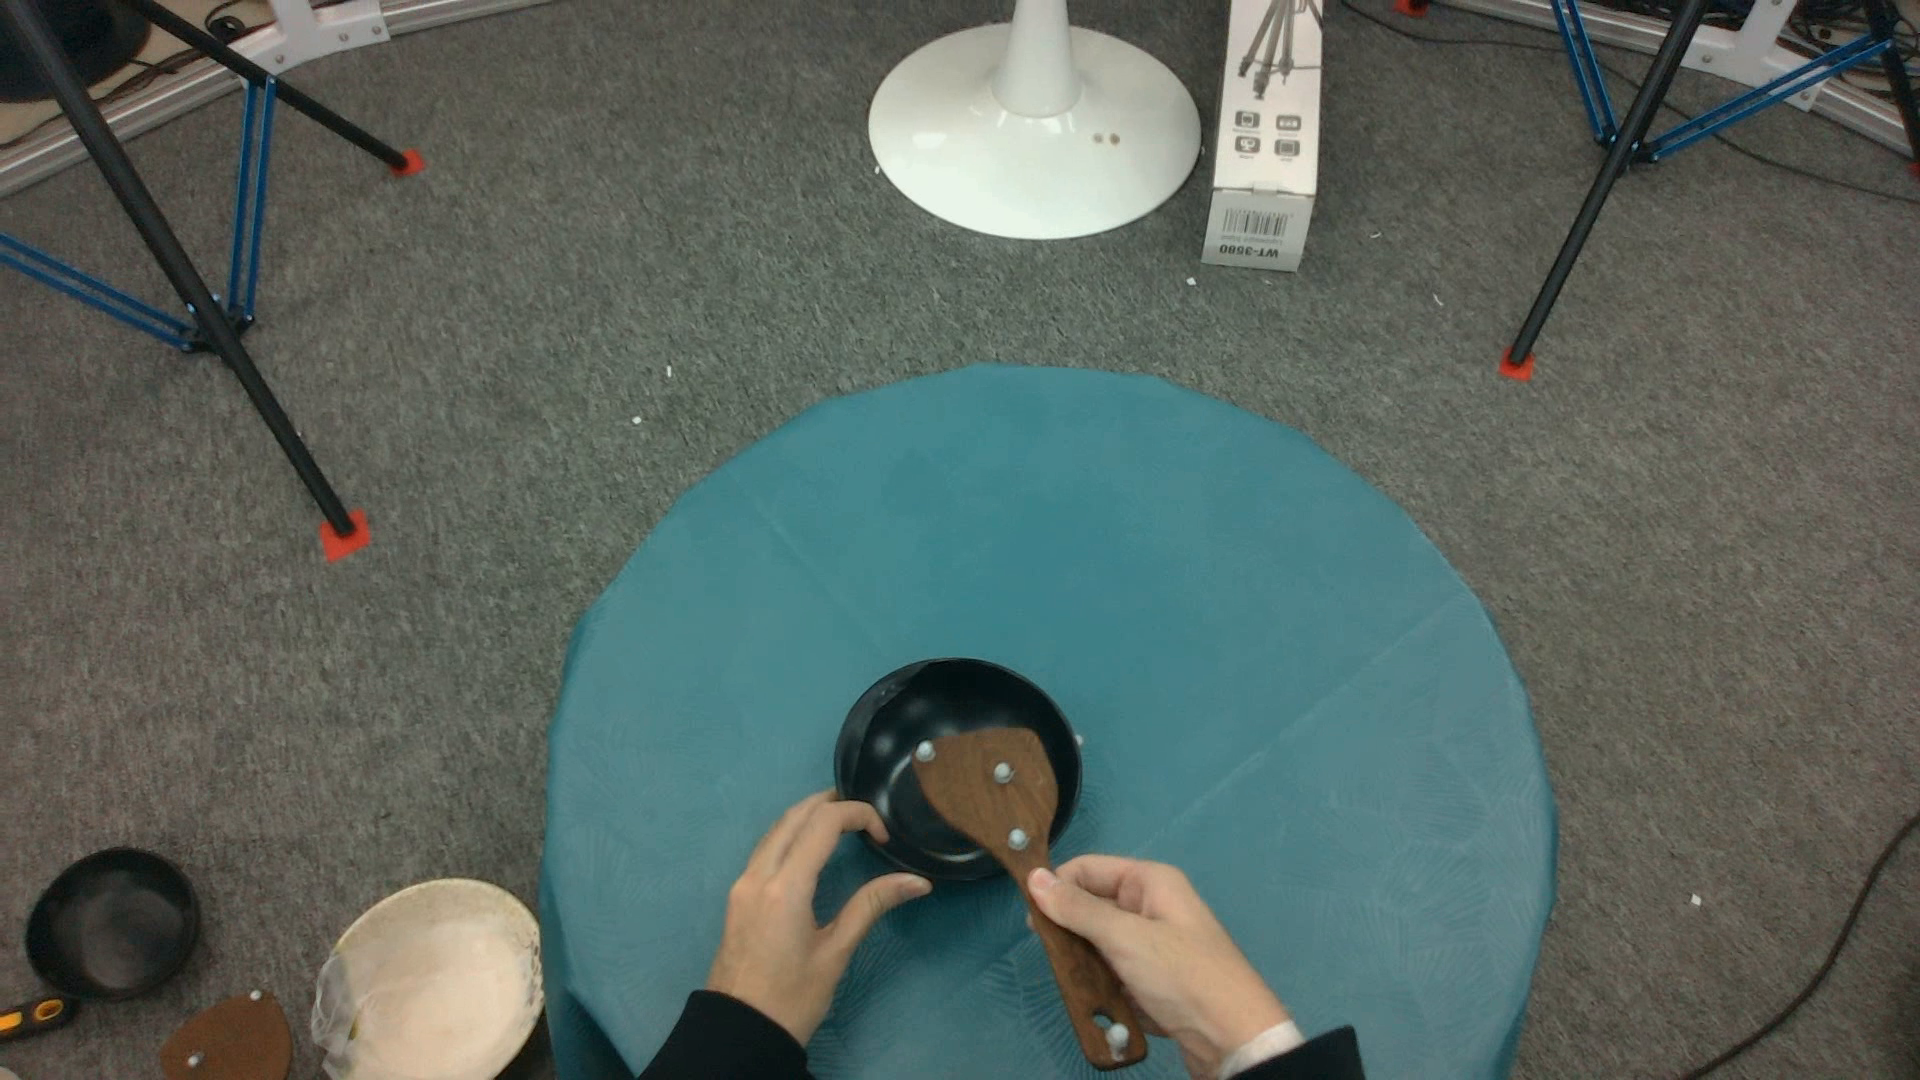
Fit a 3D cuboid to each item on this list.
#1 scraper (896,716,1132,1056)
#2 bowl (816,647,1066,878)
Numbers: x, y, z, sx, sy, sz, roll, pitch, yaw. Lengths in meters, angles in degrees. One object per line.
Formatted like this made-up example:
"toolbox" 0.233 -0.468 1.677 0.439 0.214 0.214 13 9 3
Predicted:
"scraper" 0.030 0.158 0.659 0.076 0.011 0.212 -5 34 -18
"bowl" -0.013 0.131 0.776 0.140 0.049 0.140 5 52 -7
